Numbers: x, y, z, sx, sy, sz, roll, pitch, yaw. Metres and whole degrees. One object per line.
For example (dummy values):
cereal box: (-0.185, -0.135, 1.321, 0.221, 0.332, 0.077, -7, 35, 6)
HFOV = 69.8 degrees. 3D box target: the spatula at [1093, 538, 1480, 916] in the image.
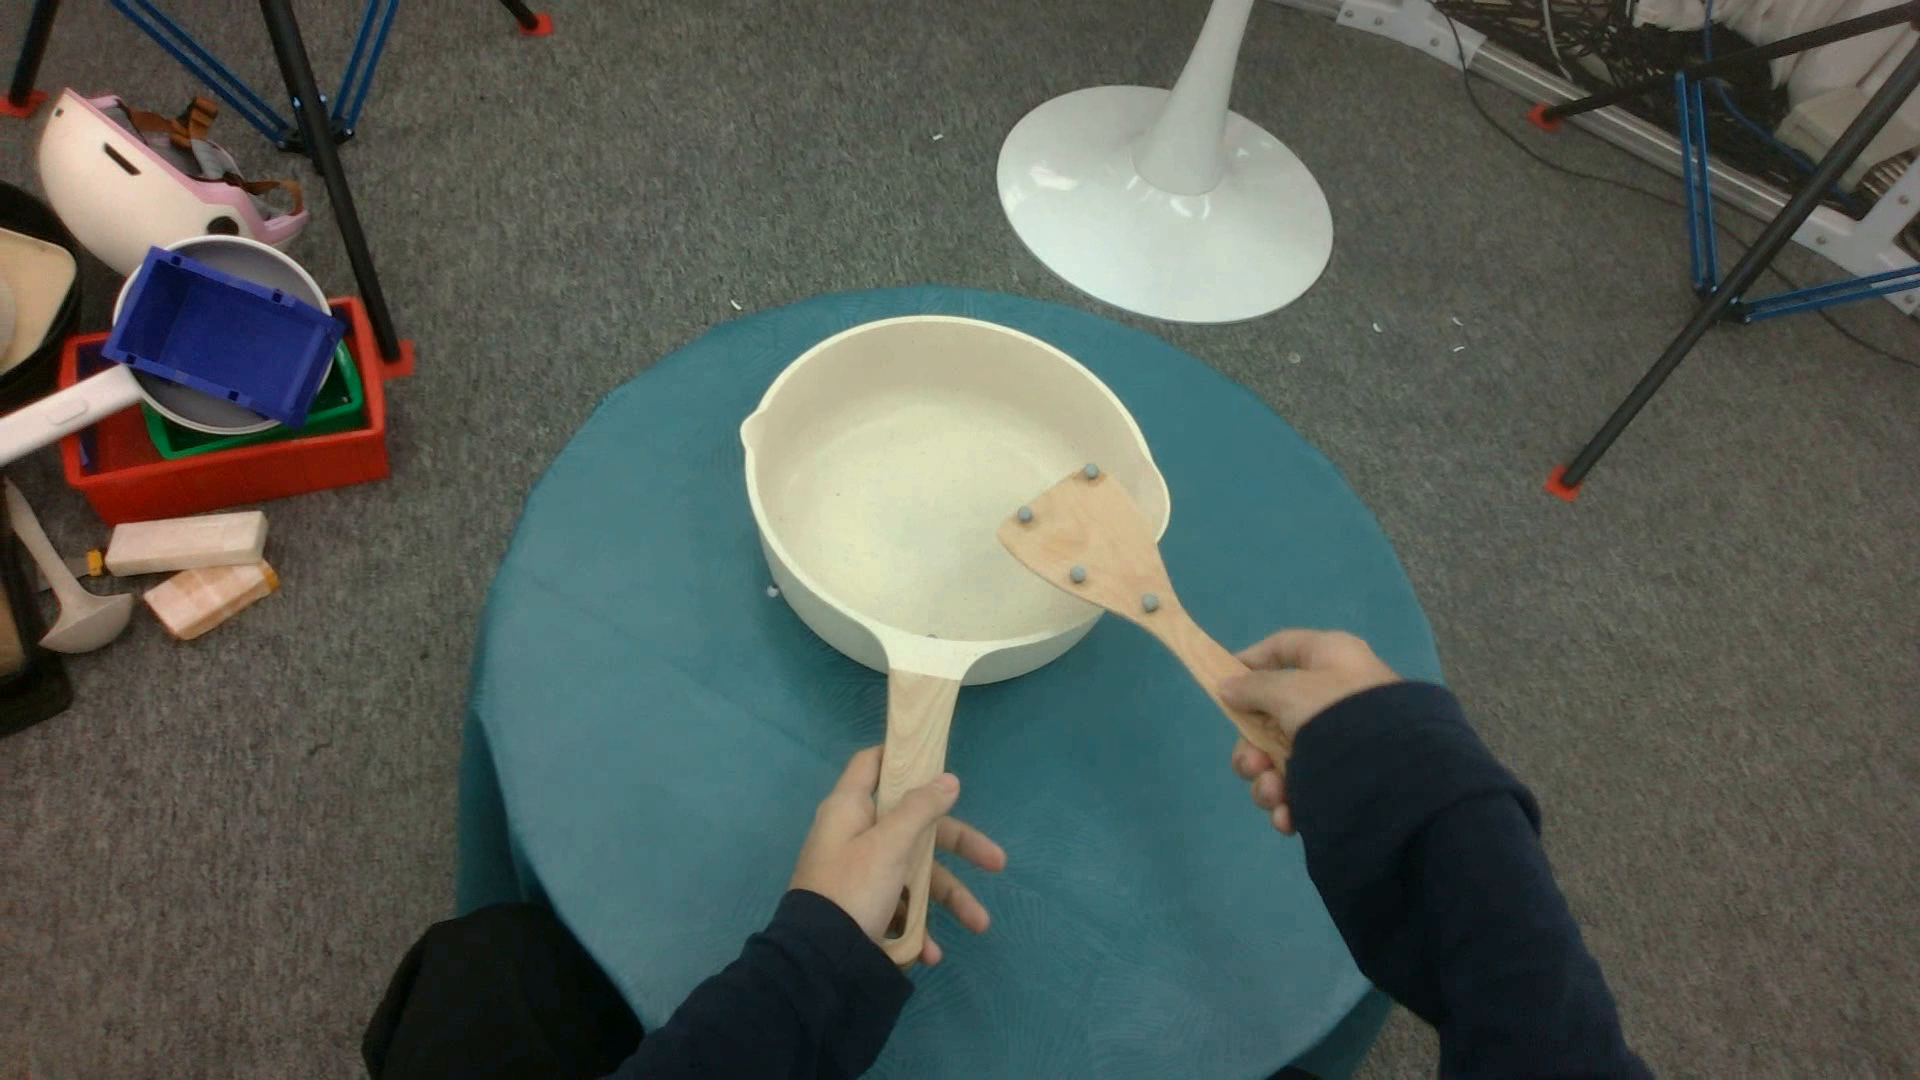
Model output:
spatula: (0.153, 0.081, 0.685, 0.080, 0.016, 0.328, -25, 27, -5)

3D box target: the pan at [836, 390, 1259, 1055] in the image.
pan: (0.035, 0.093, 0.809, 0.263, 0.101, 0.437, 12, 52, 0)
